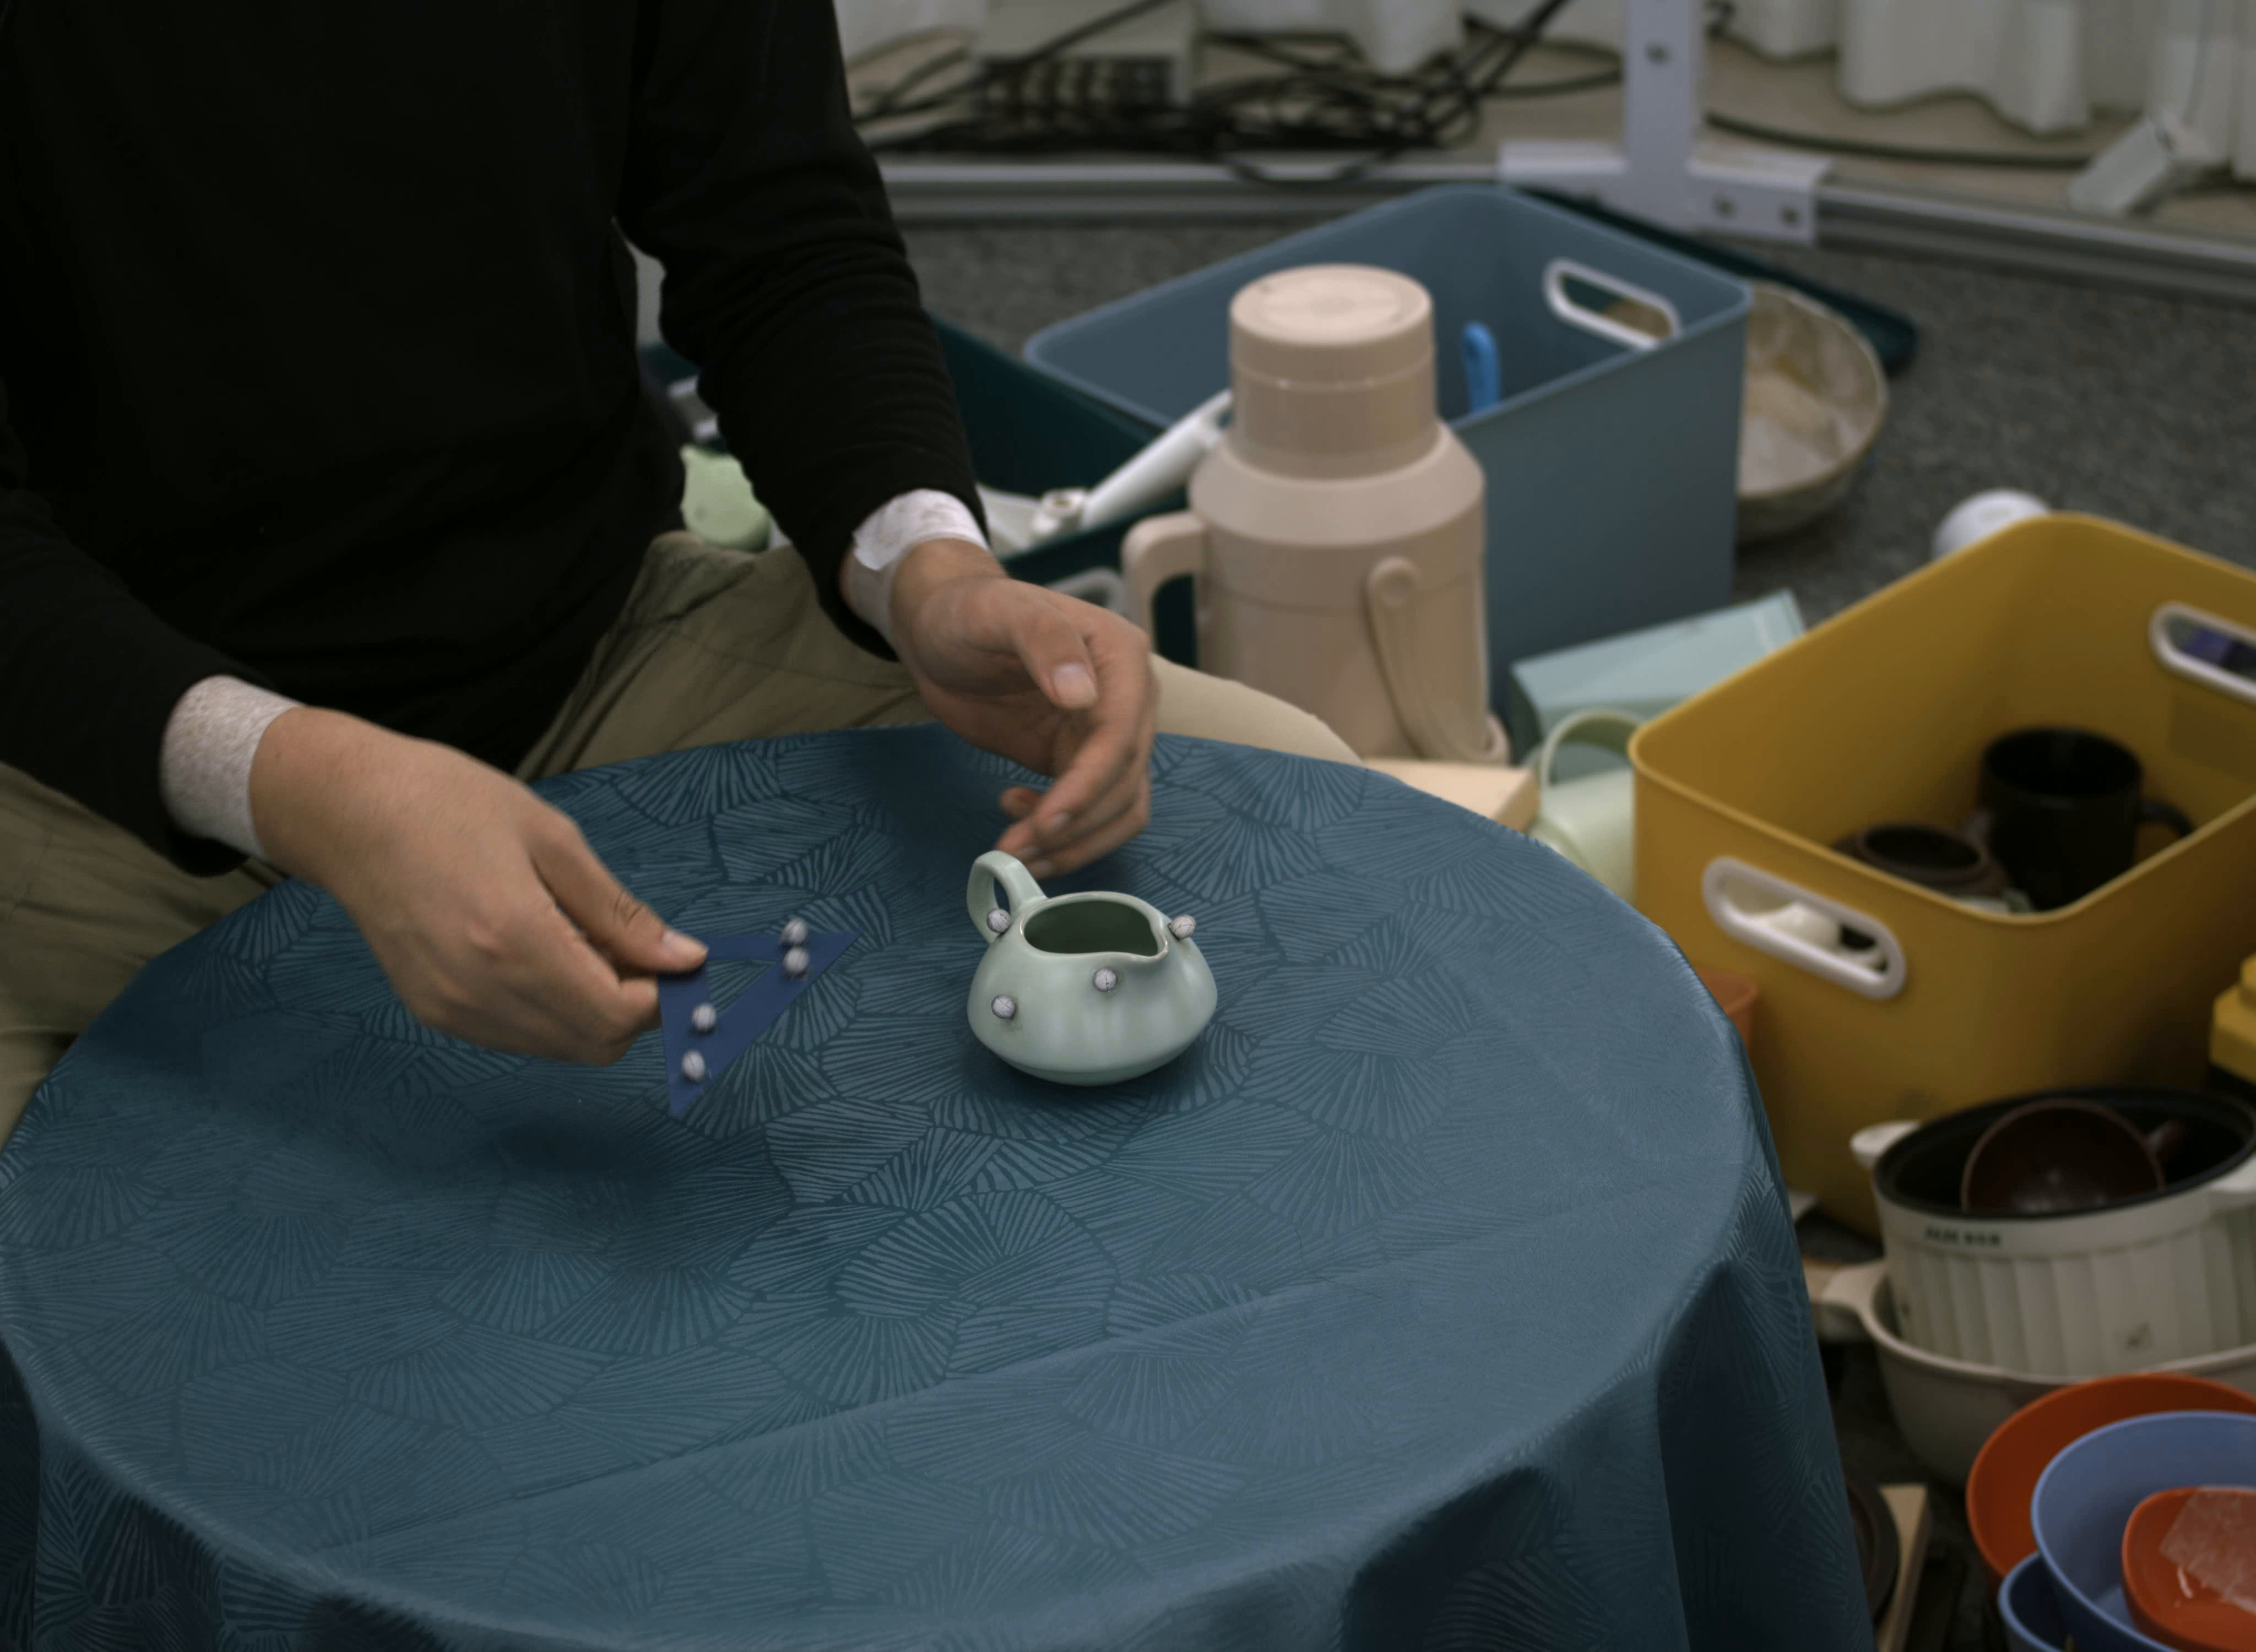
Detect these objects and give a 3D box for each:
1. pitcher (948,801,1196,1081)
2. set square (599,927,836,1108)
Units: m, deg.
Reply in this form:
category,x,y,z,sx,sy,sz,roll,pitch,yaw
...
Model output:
category,x,y,z,sx,sy,sz,roll,pitch,yaw
pitcher,-0.025,0.040,1.947,0.086,0.059,0.109,-21,48,-13
set square,-0.153,0.058,1.851,0.061,0.006,0.134,15,30,24
